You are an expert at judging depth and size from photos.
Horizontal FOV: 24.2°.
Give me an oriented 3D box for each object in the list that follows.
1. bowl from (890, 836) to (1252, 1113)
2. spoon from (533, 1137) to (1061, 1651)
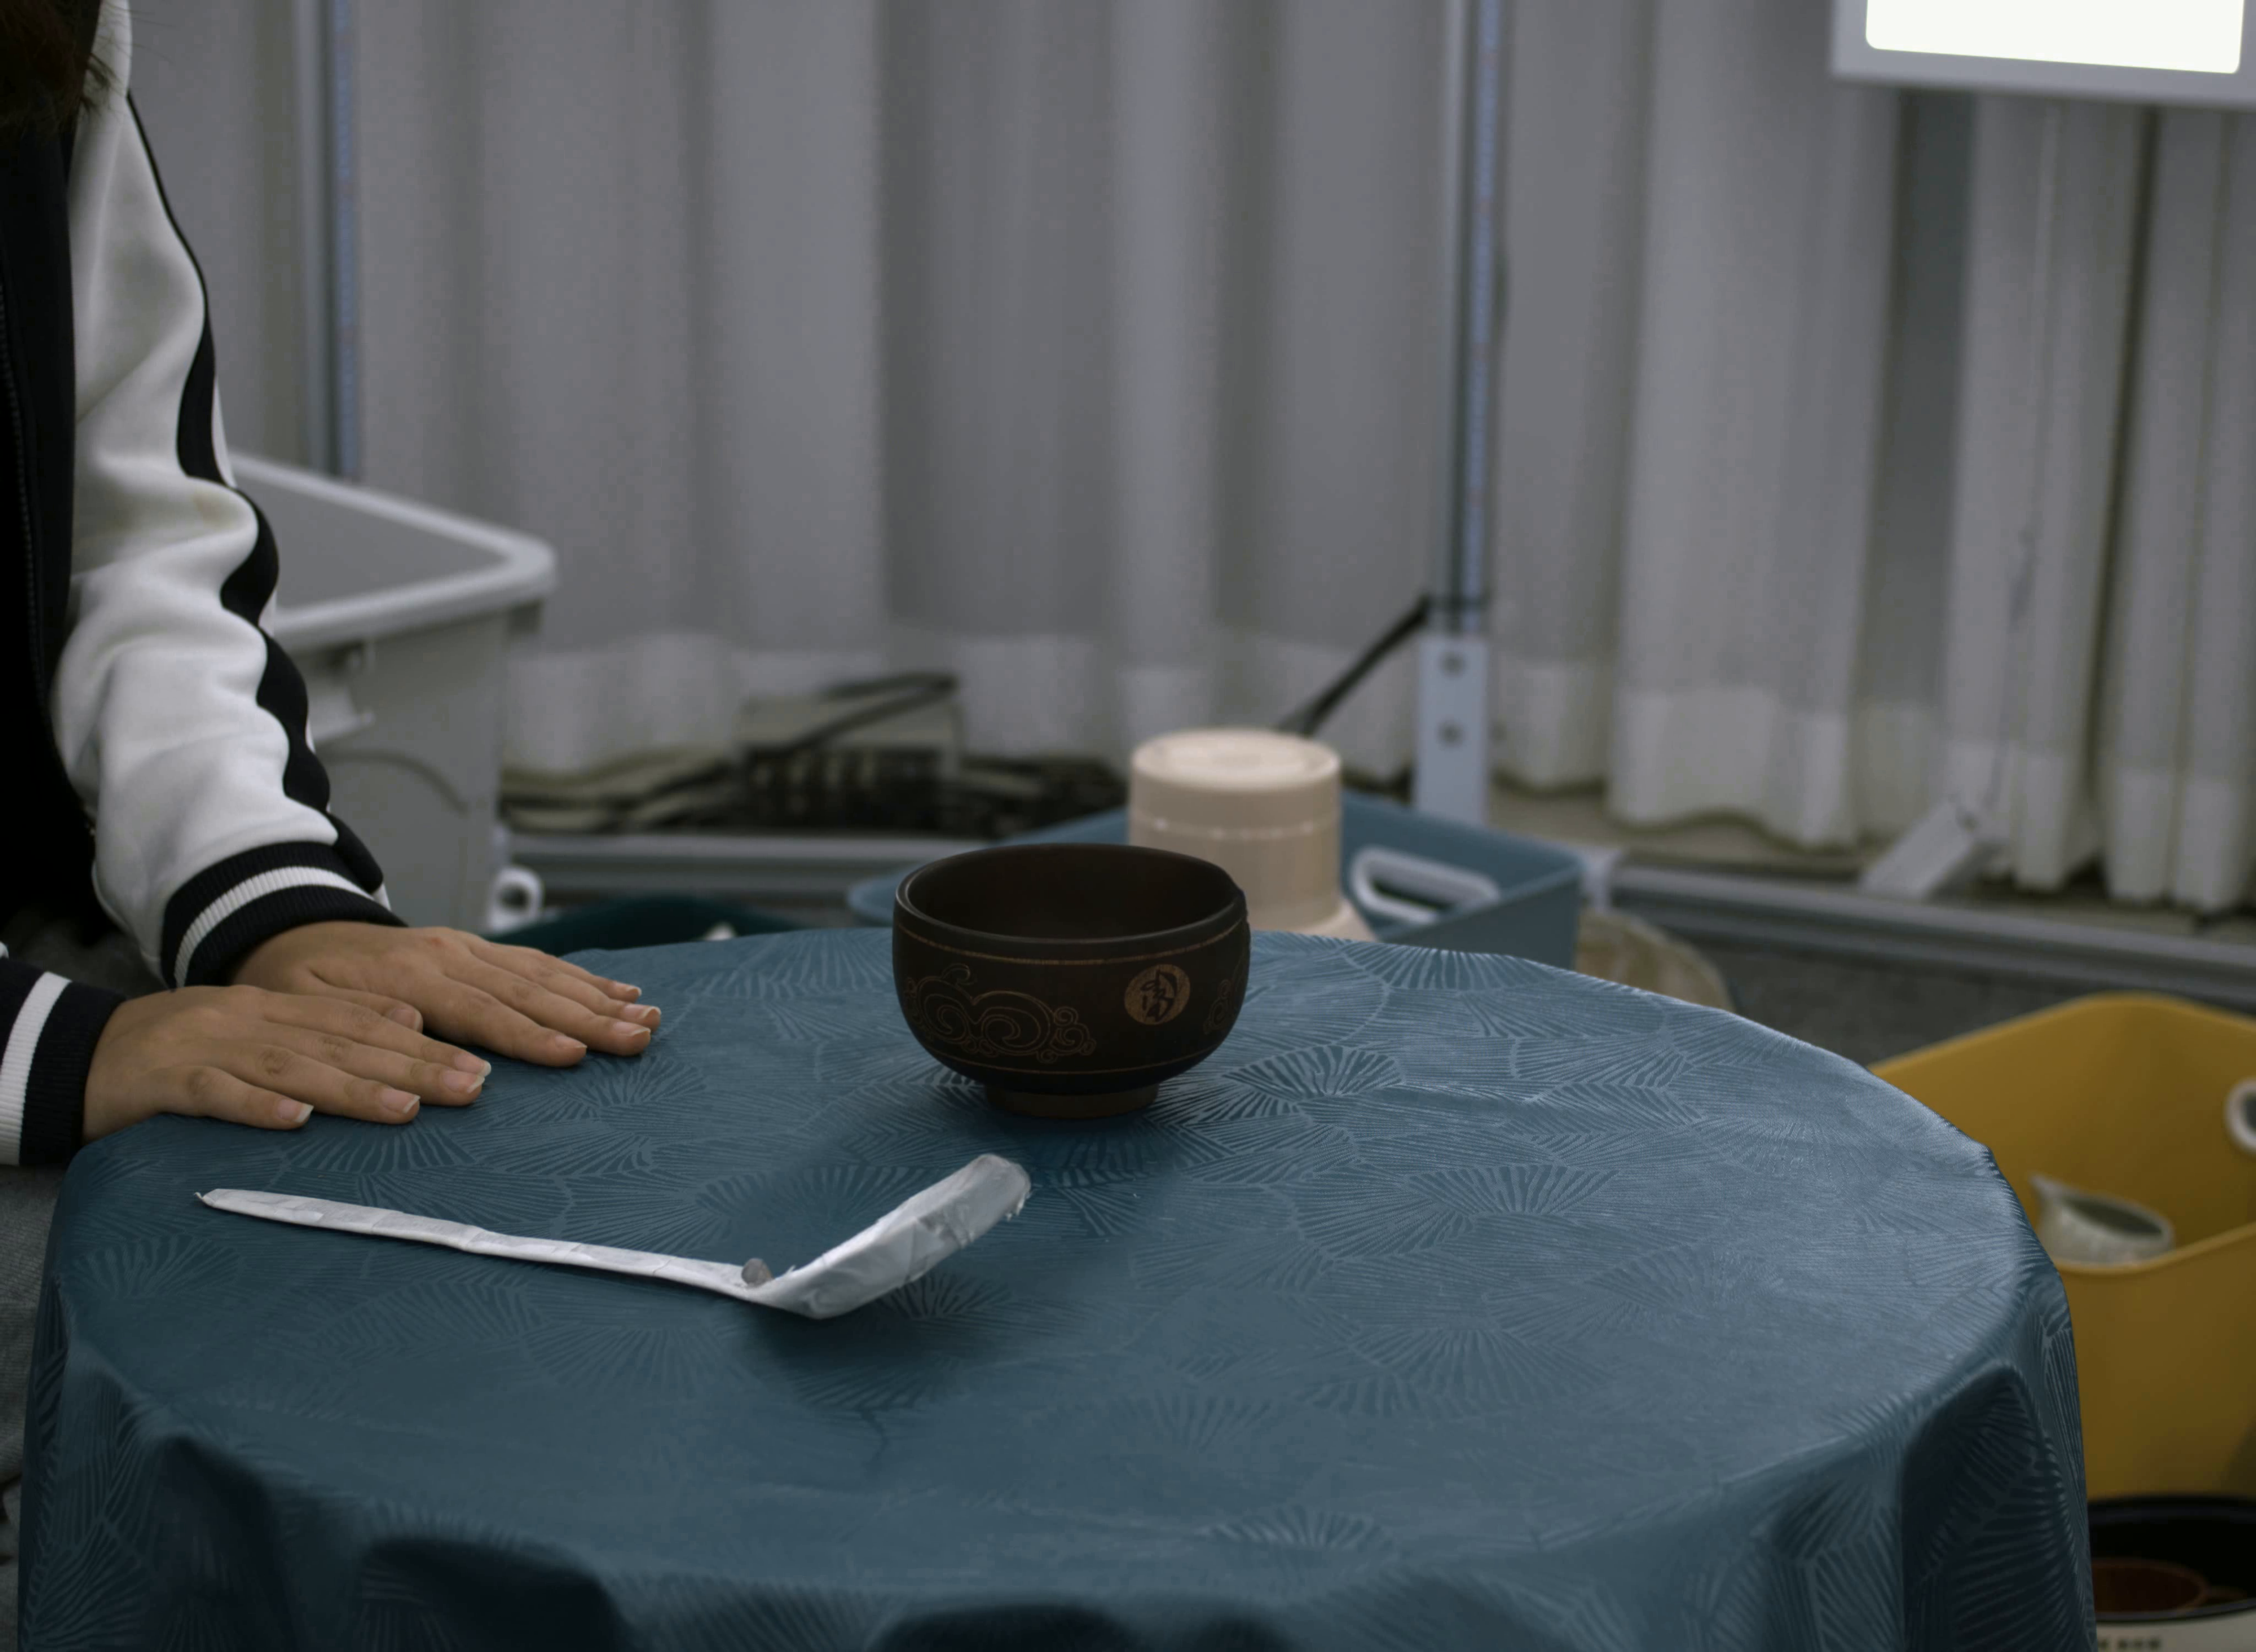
[{"bbox_3d":[-0.019,0.051,1.703,0.117,0.070,0.117,1,15,0],"label":"bowl"},{"bbox_3d":[-0.115,0.199,1.514,0.059,0.278,0.101,31,-2,6],"label":"spoon"}]
